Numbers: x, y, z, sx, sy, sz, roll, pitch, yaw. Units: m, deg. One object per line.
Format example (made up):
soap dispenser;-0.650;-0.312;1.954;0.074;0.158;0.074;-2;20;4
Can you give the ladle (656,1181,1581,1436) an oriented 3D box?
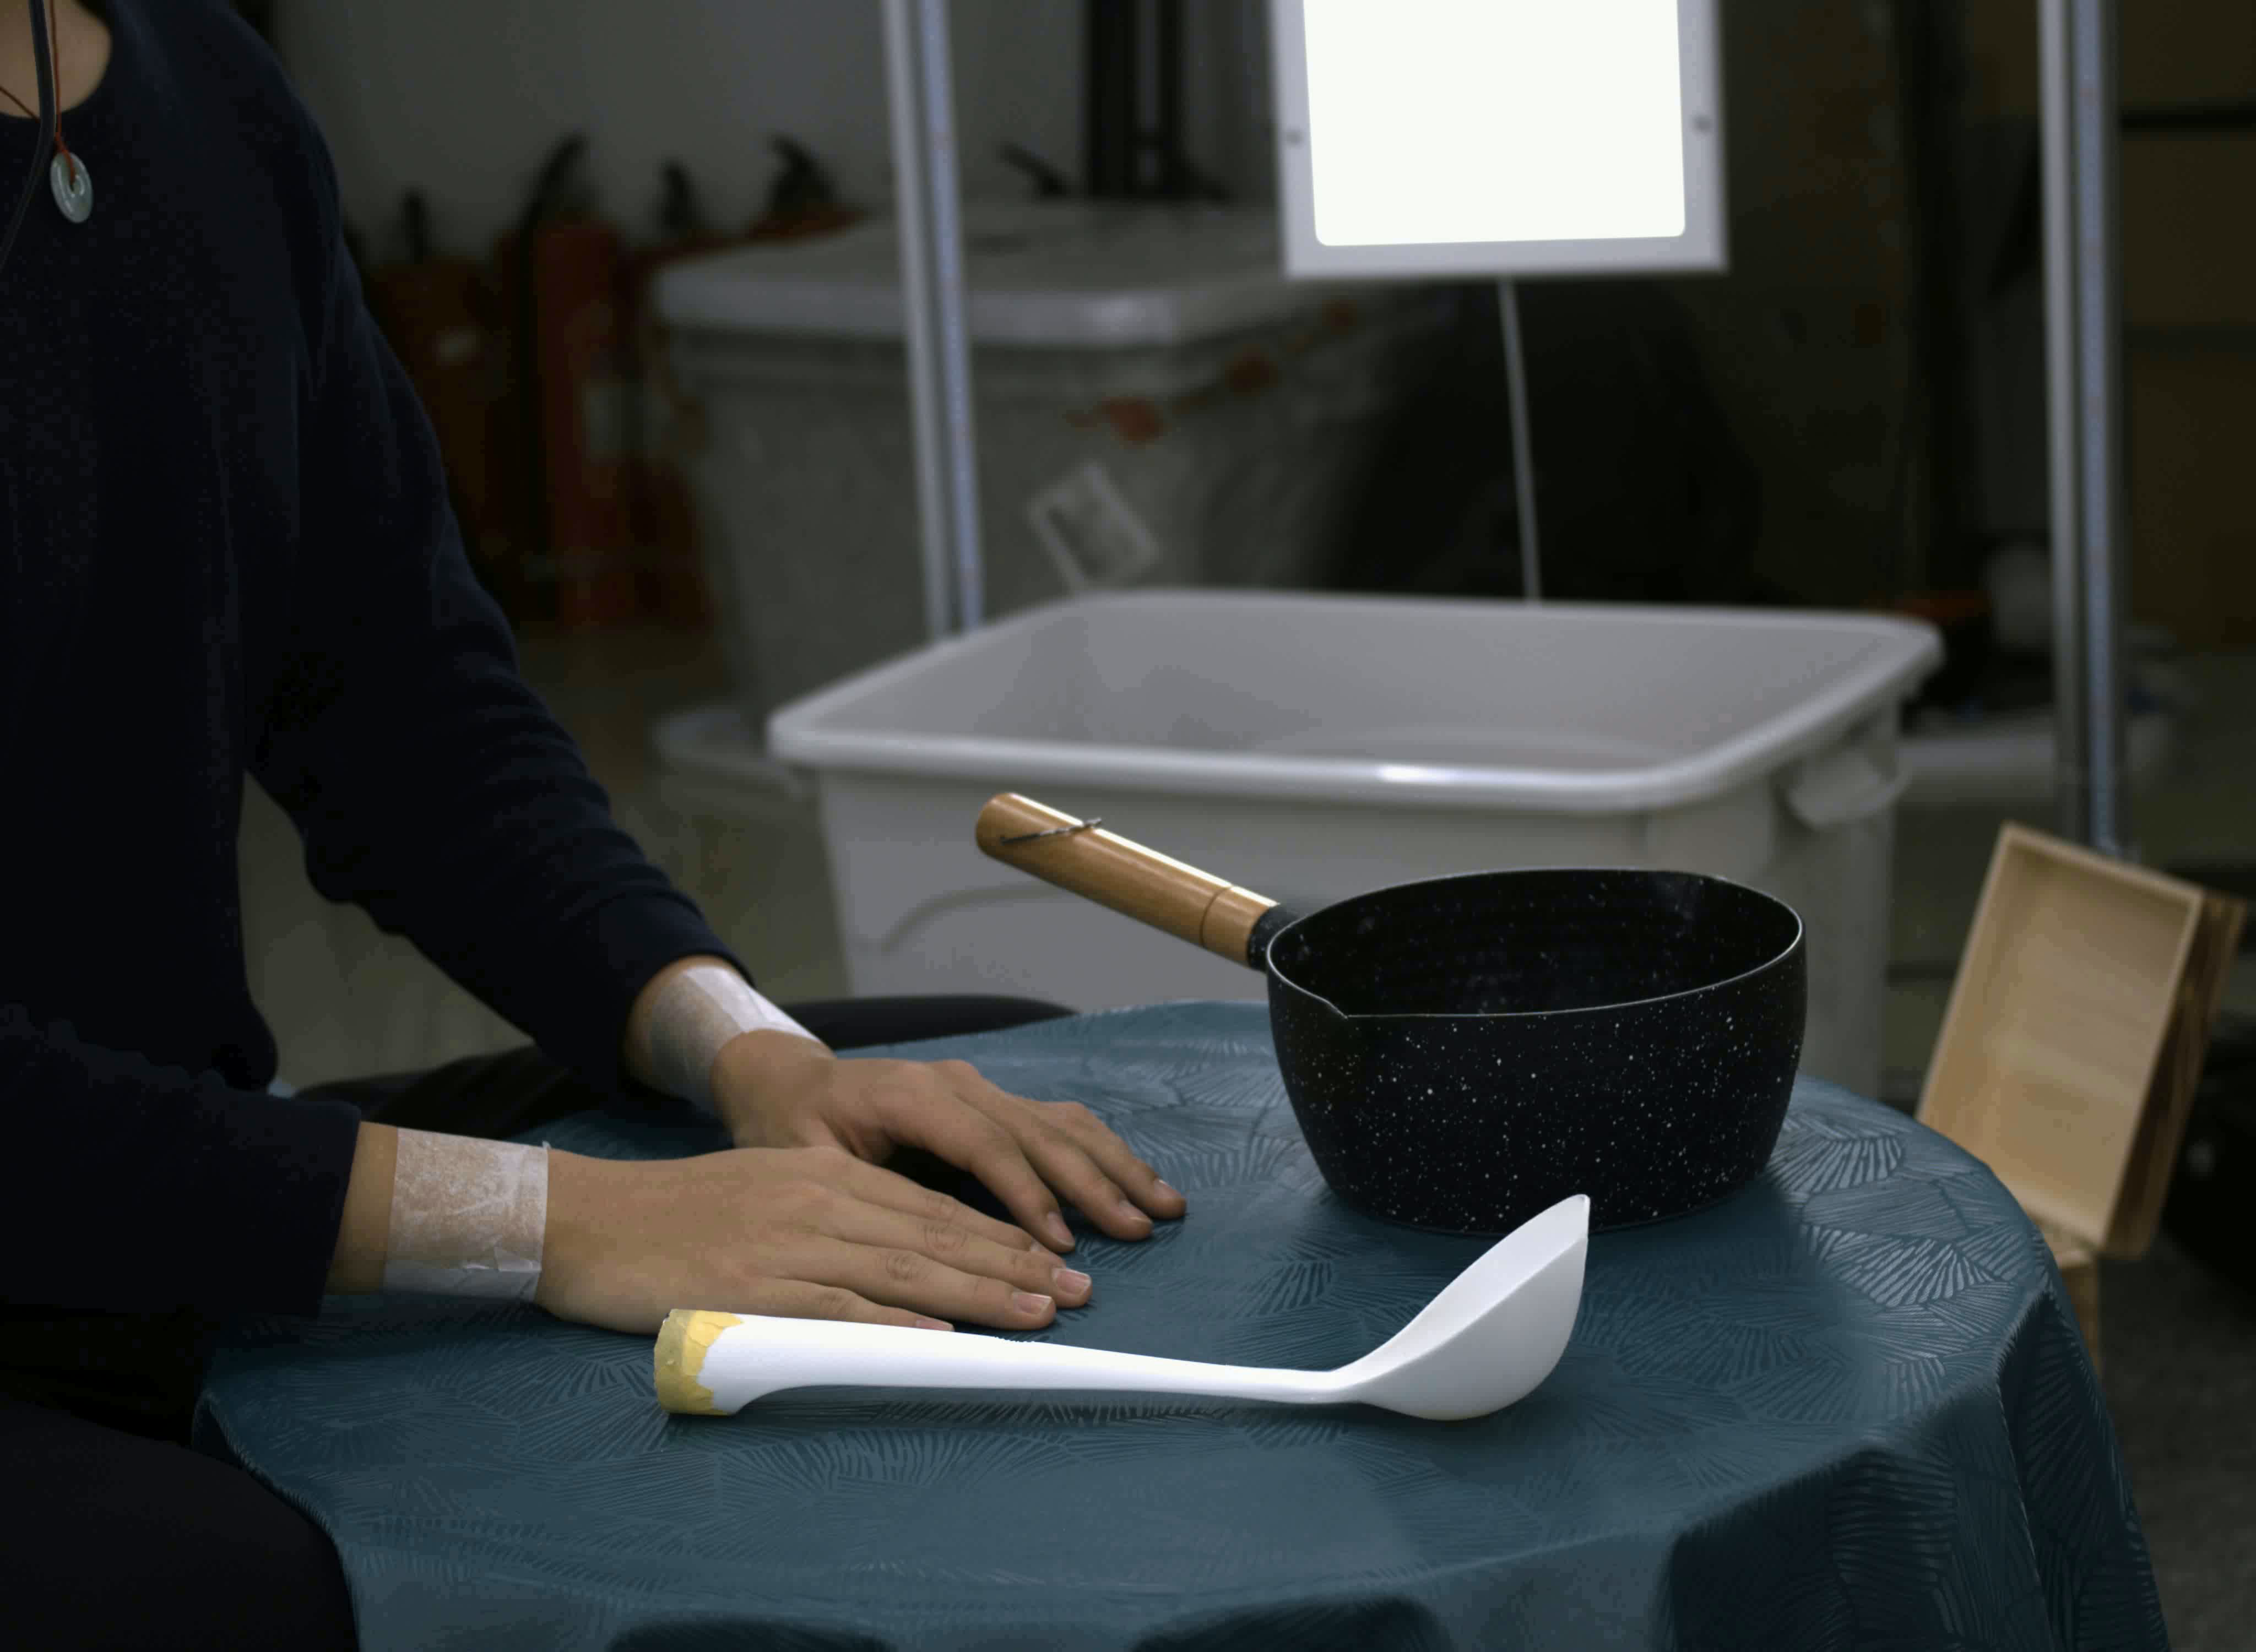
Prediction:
ladle;-0.004;0.151;1.668;0.296;0.070;0.089;-2;21;16

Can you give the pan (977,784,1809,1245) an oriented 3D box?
pan;0.079;0.058;1.919;0.350;0.108;0.202;9;20;40
